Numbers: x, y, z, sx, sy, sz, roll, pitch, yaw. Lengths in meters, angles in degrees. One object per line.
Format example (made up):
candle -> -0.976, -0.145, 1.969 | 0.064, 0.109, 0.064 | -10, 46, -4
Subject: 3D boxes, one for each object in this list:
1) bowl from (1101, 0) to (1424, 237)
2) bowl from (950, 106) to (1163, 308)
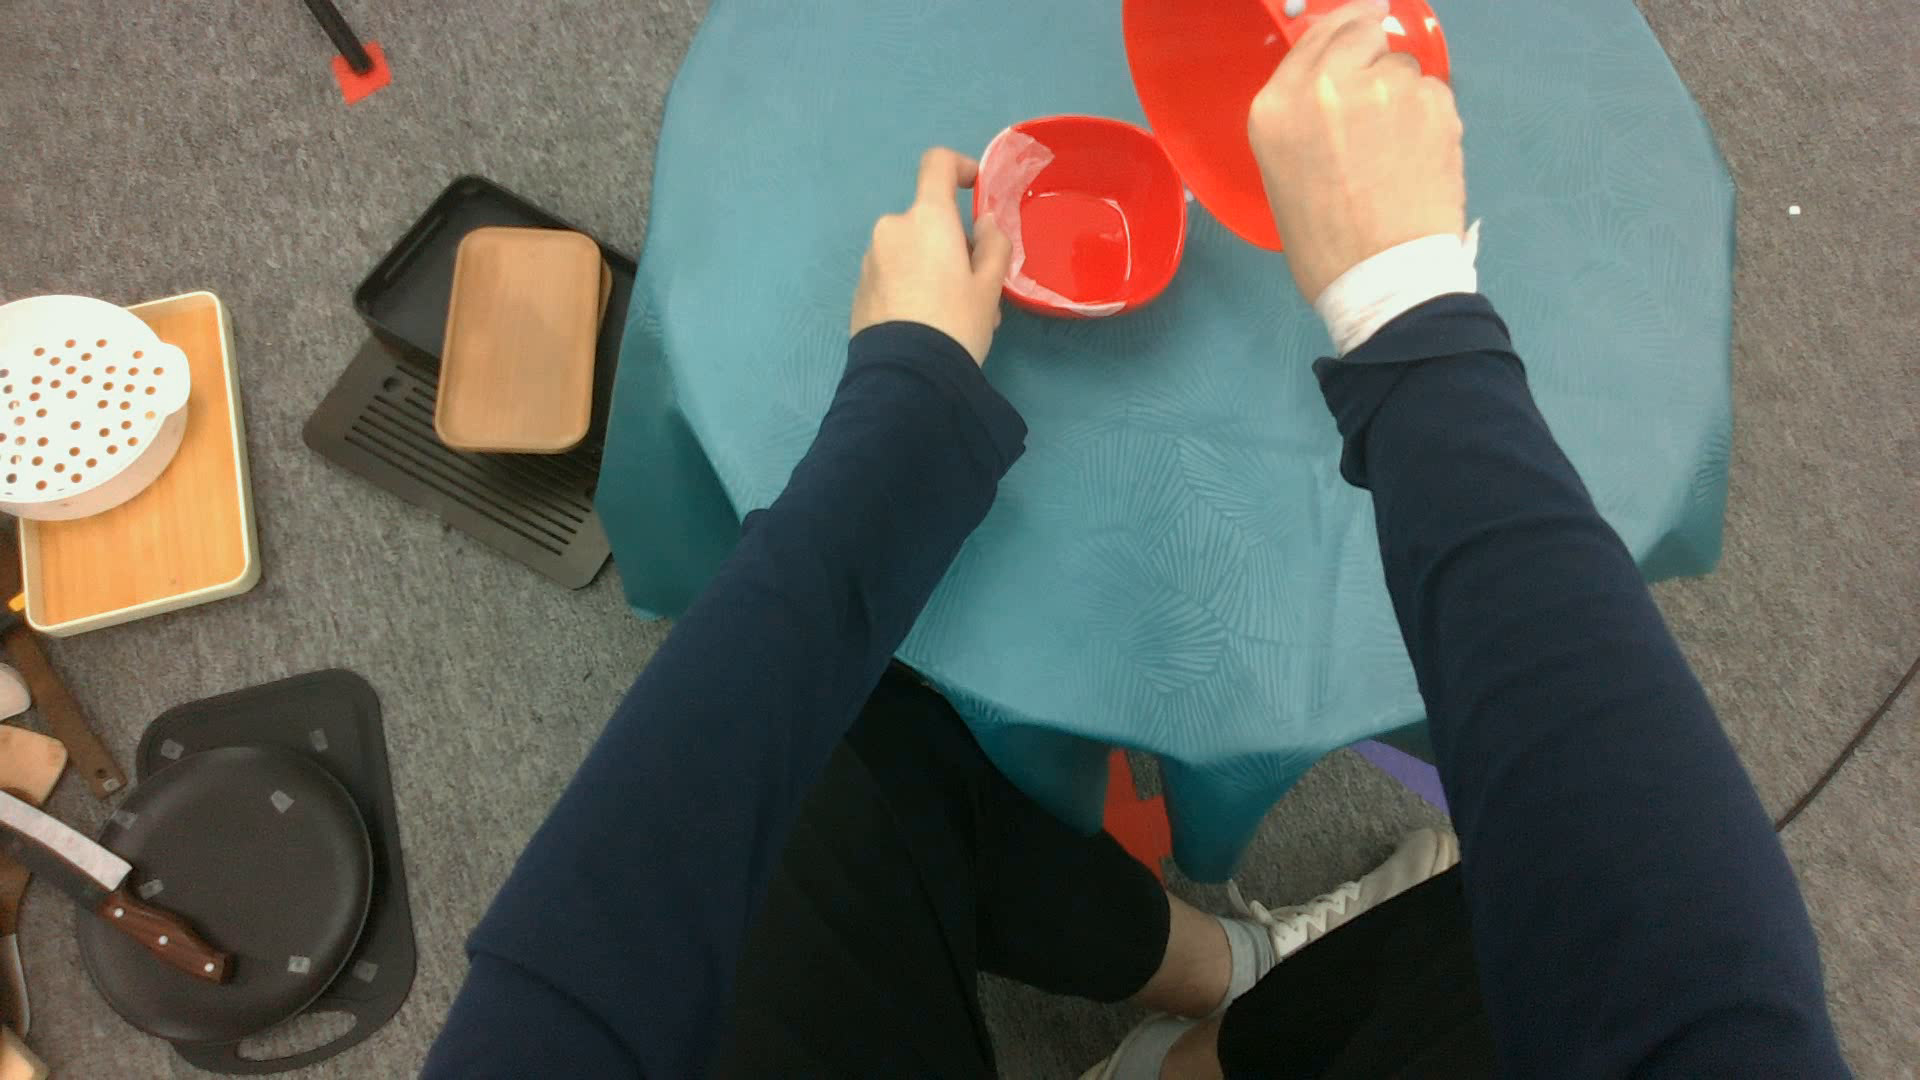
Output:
bowl -> 0.146, -0.222, 0.635 | 0.105, 0.147, 0.148 | -24, 76, -11
bowl -> 0.048, -0.168, 0.730 | 0.119, 0.051, 0.119 | 1, 76, -4
